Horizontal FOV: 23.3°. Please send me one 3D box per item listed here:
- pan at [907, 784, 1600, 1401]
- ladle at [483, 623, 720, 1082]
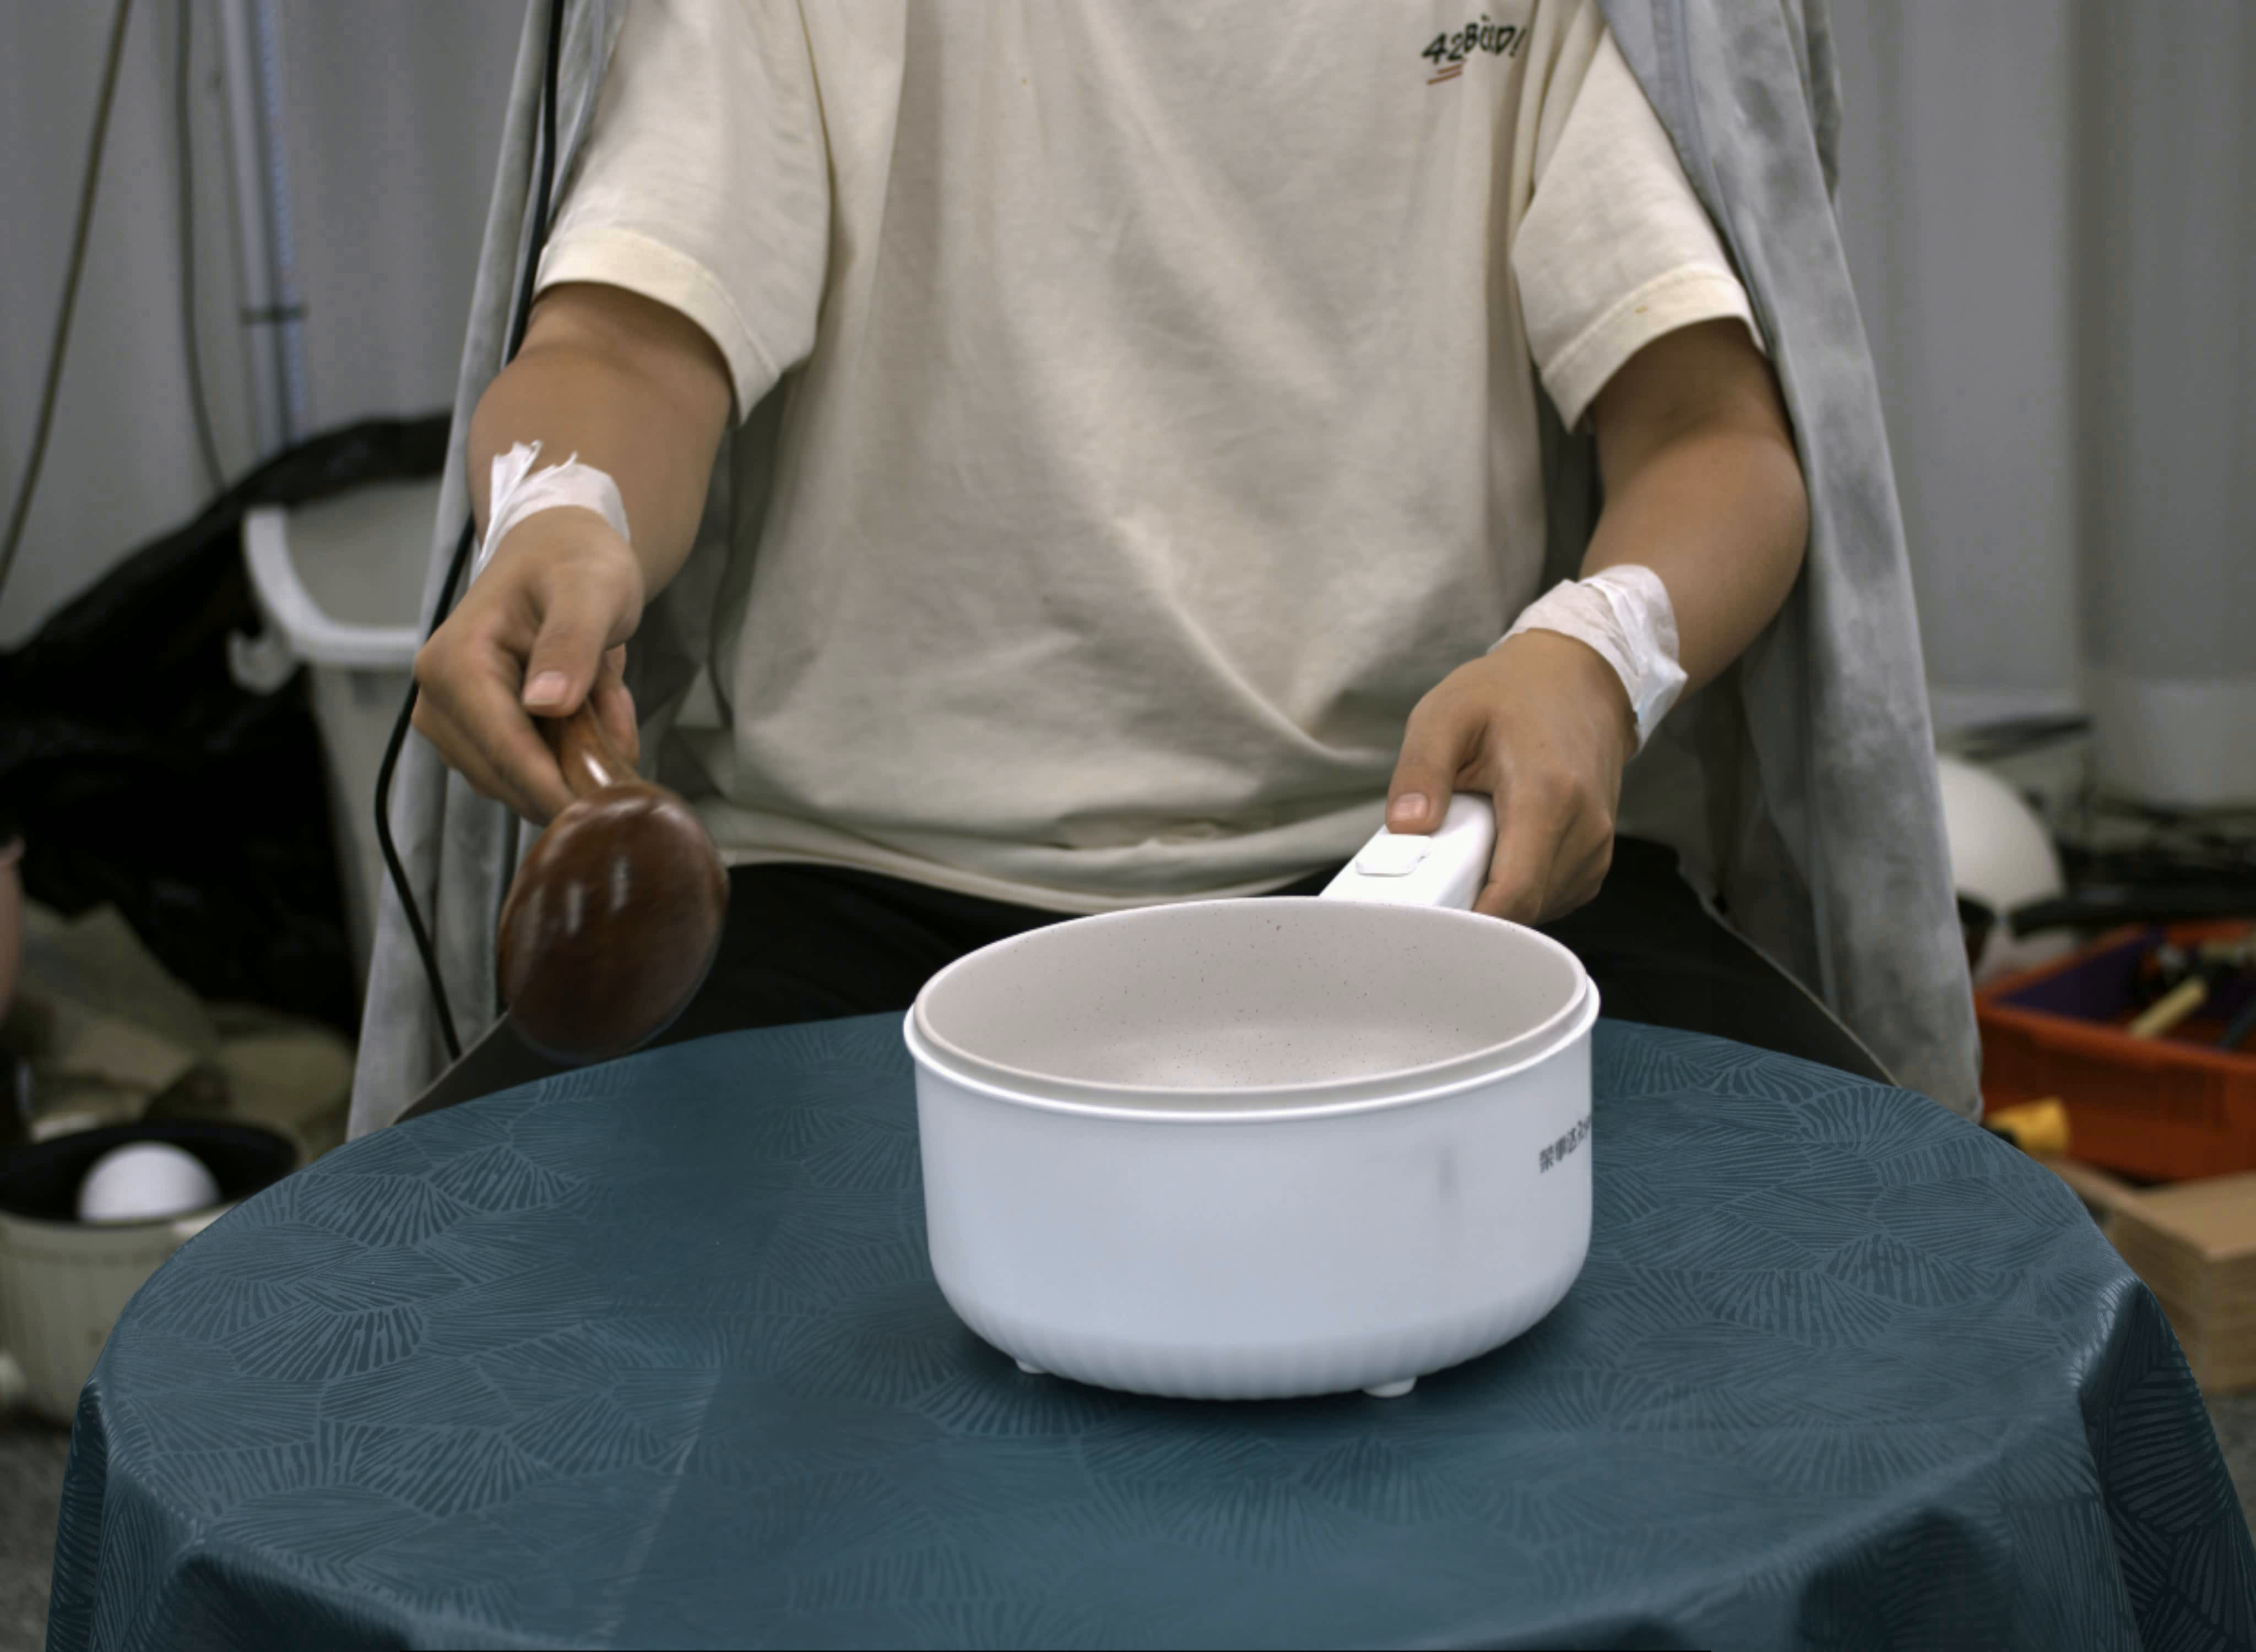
[{"bbox_3d":[0.062,0.076,1.660,0.201,0.102,0.356,2,15,18],"label":"pan"},{"bbox_3d":[-0.175,-0.005,1.608,0.076,0.081,0.277,8,18,-21],"label":"ladle"}]
